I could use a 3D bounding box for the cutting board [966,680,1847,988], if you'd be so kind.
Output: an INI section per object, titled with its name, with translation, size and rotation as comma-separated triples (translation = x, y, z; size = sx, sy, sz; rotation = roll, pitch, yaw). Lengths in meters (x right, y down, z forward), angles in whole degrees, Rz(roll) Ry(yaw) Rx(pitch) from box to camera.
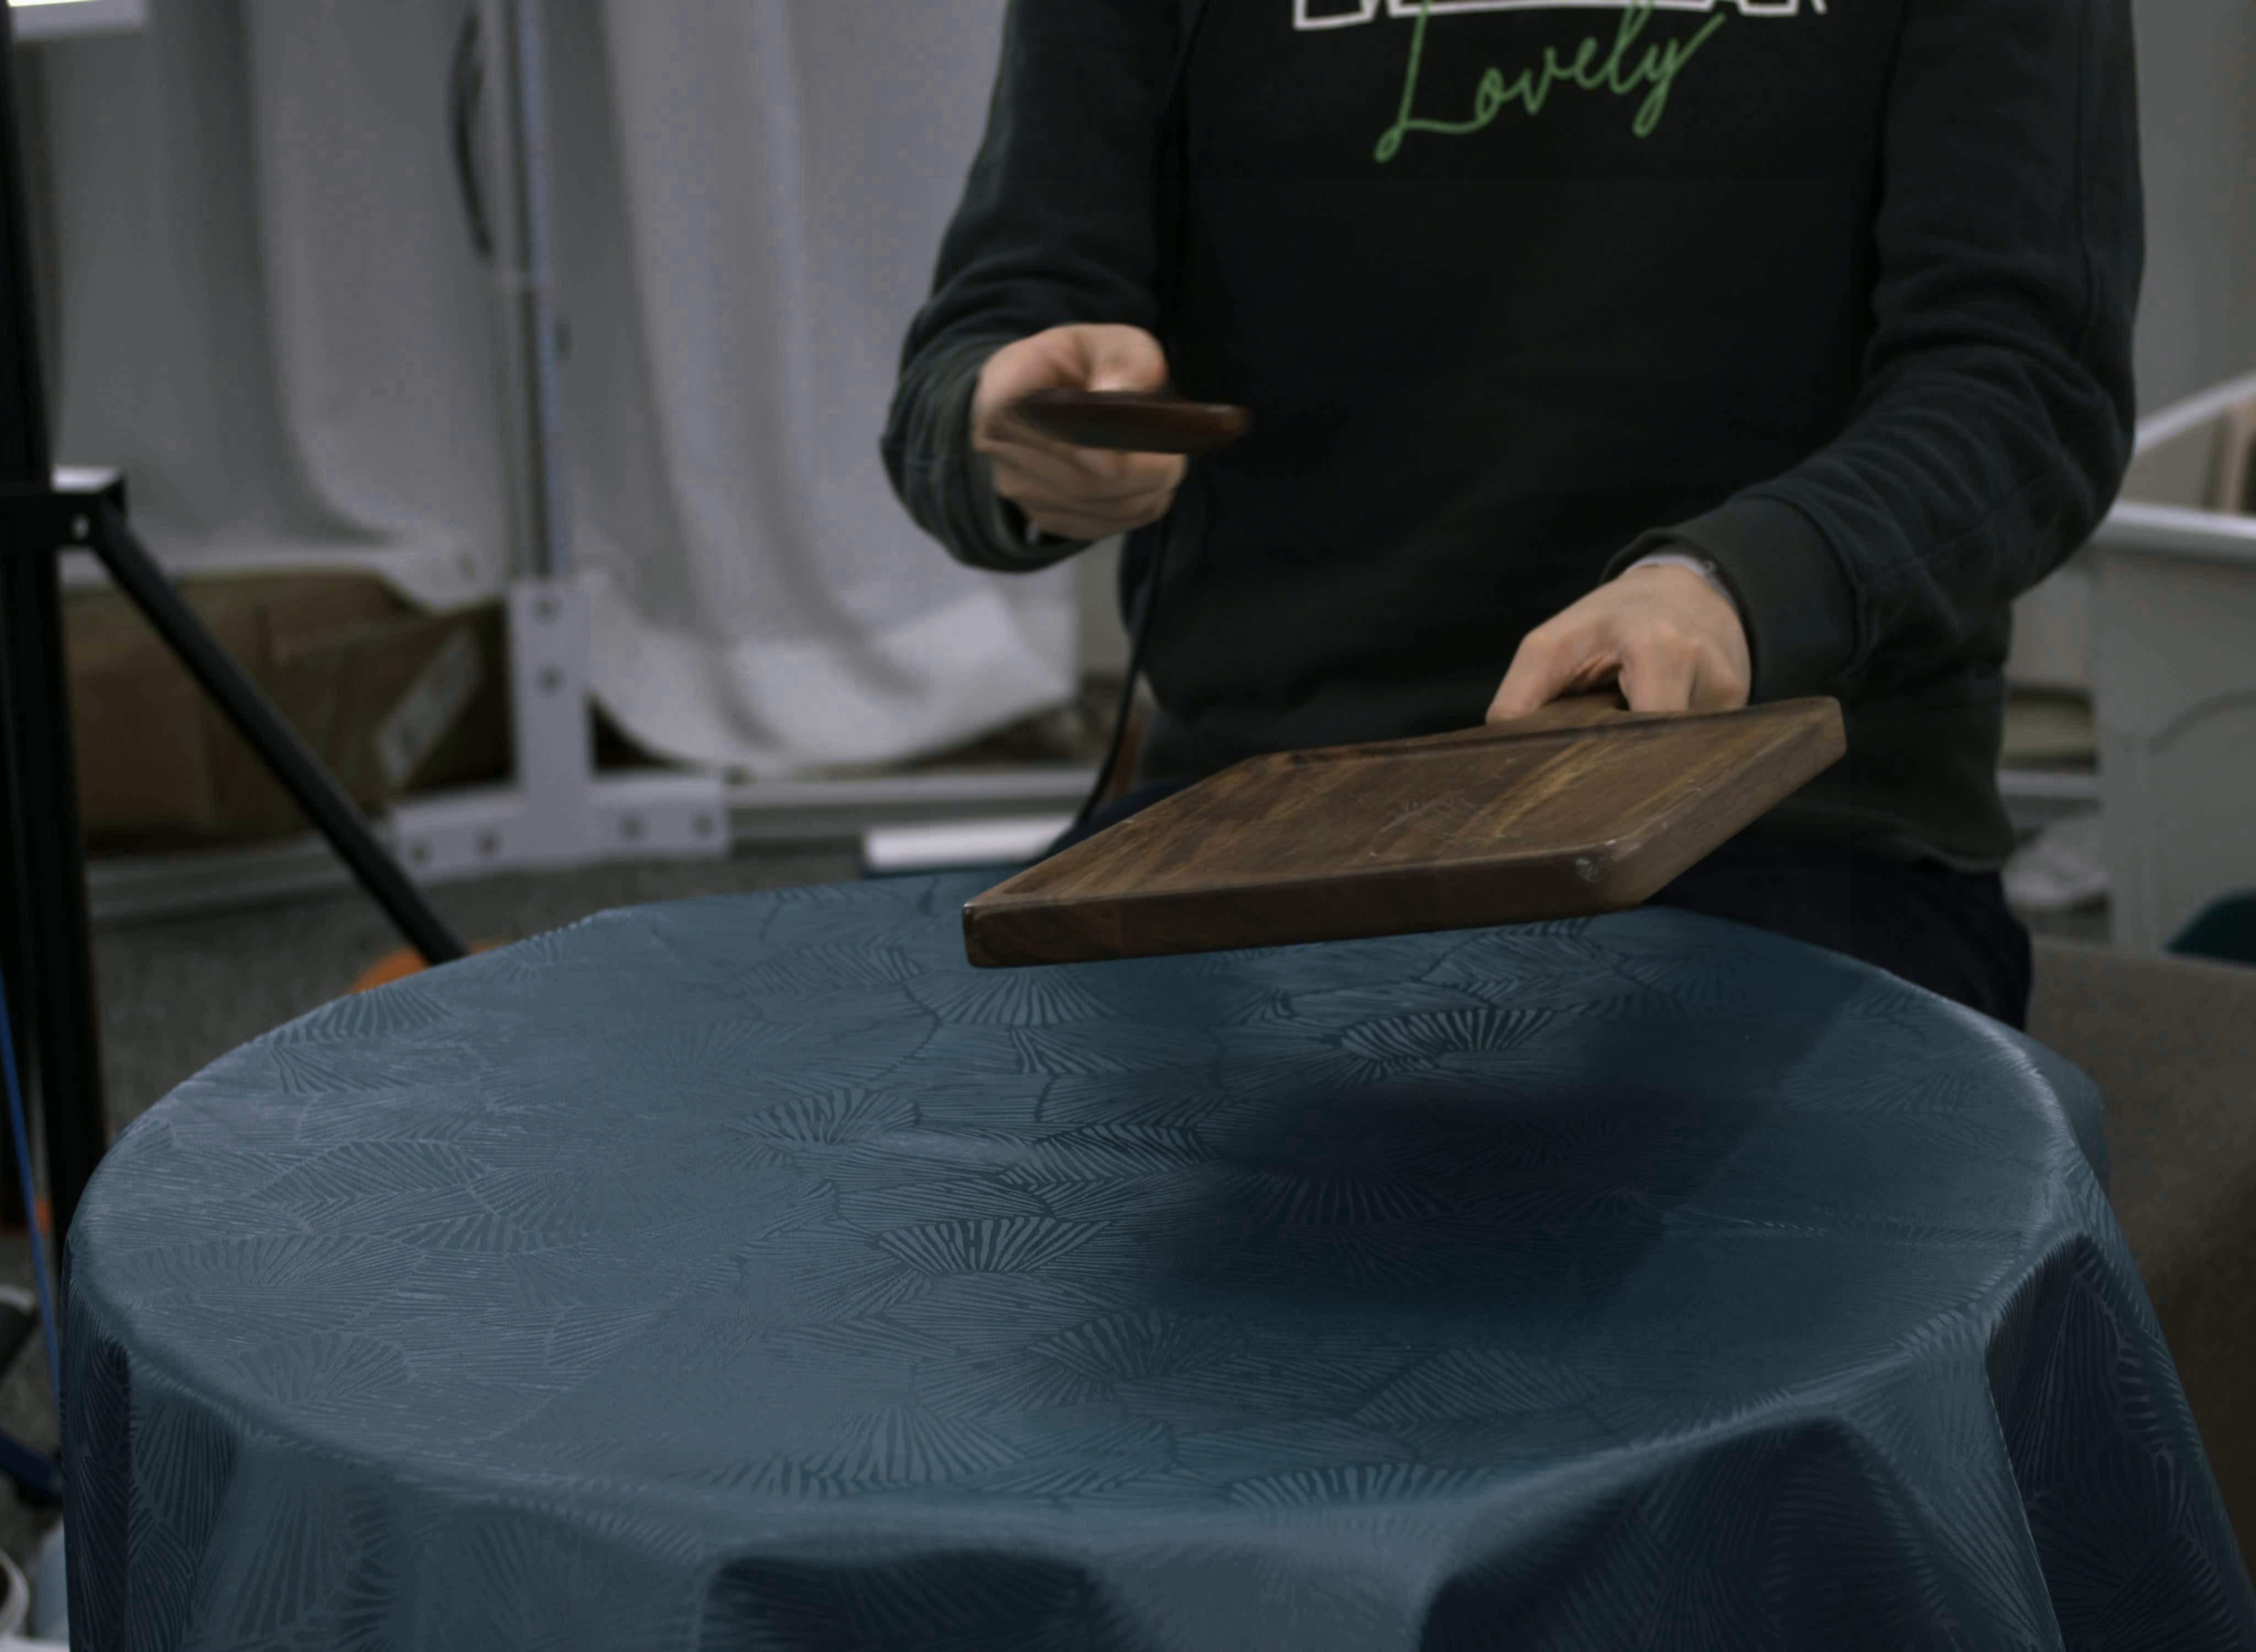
[cutting board]
translation = 0.103, -0.006, 1.576
size = 0.203, 0.023, 0.347
rotation = -7, 8, 23

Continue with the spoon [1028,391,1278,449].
[spoon]
translation = 0.004, -0.126, 1.665
size = 0.075, 0.017, 0.216
rotation = 0, 3, -3
